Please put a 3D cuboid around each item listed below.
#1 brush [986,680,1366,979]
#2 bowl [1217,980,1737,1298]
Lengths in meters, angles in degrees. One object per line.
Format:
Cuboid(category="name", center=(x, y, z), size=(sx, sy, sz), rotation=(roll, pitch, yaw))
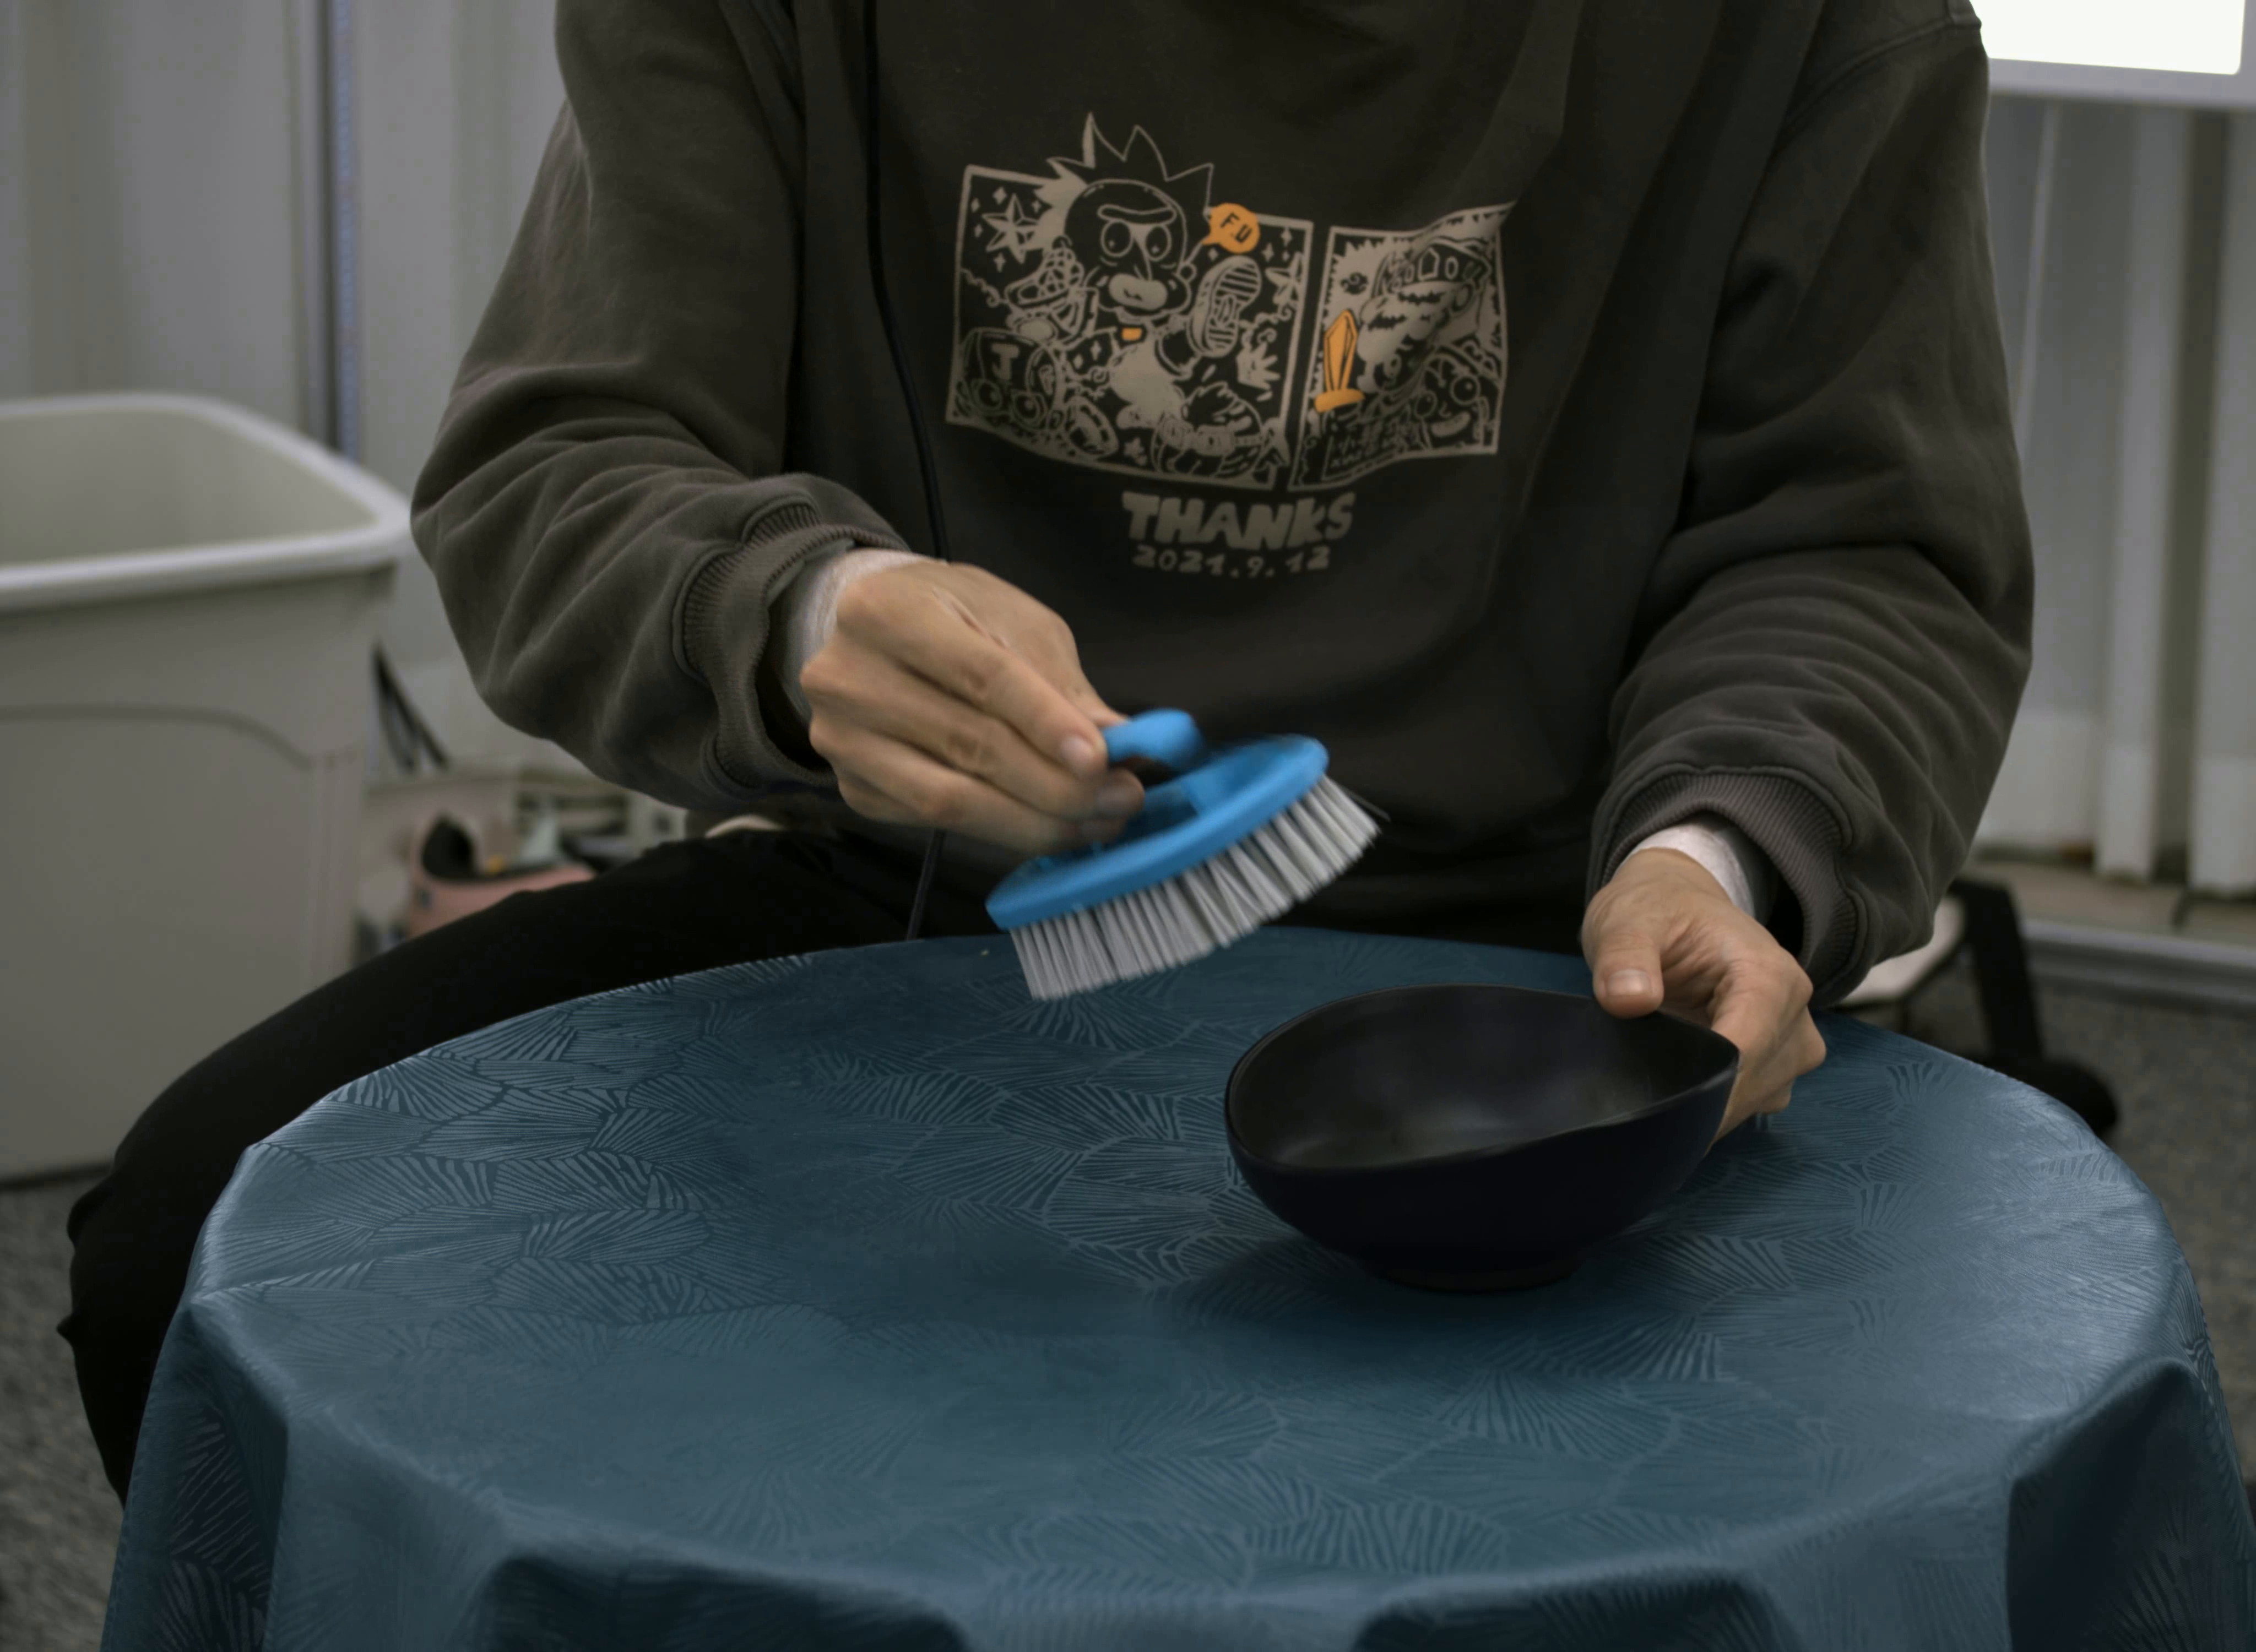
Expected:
Cuboid(category="brush", center=(0.004, -0.007, 1.548), size=(0.084, 0.064, 0.141), rotation=(-41, 12, -30))
Cuboid(category="bowl", center=(0.104, 0.099, 1.567), size=(0.171, 0.067, 0.135), rotation=(-16, 22, -41))
